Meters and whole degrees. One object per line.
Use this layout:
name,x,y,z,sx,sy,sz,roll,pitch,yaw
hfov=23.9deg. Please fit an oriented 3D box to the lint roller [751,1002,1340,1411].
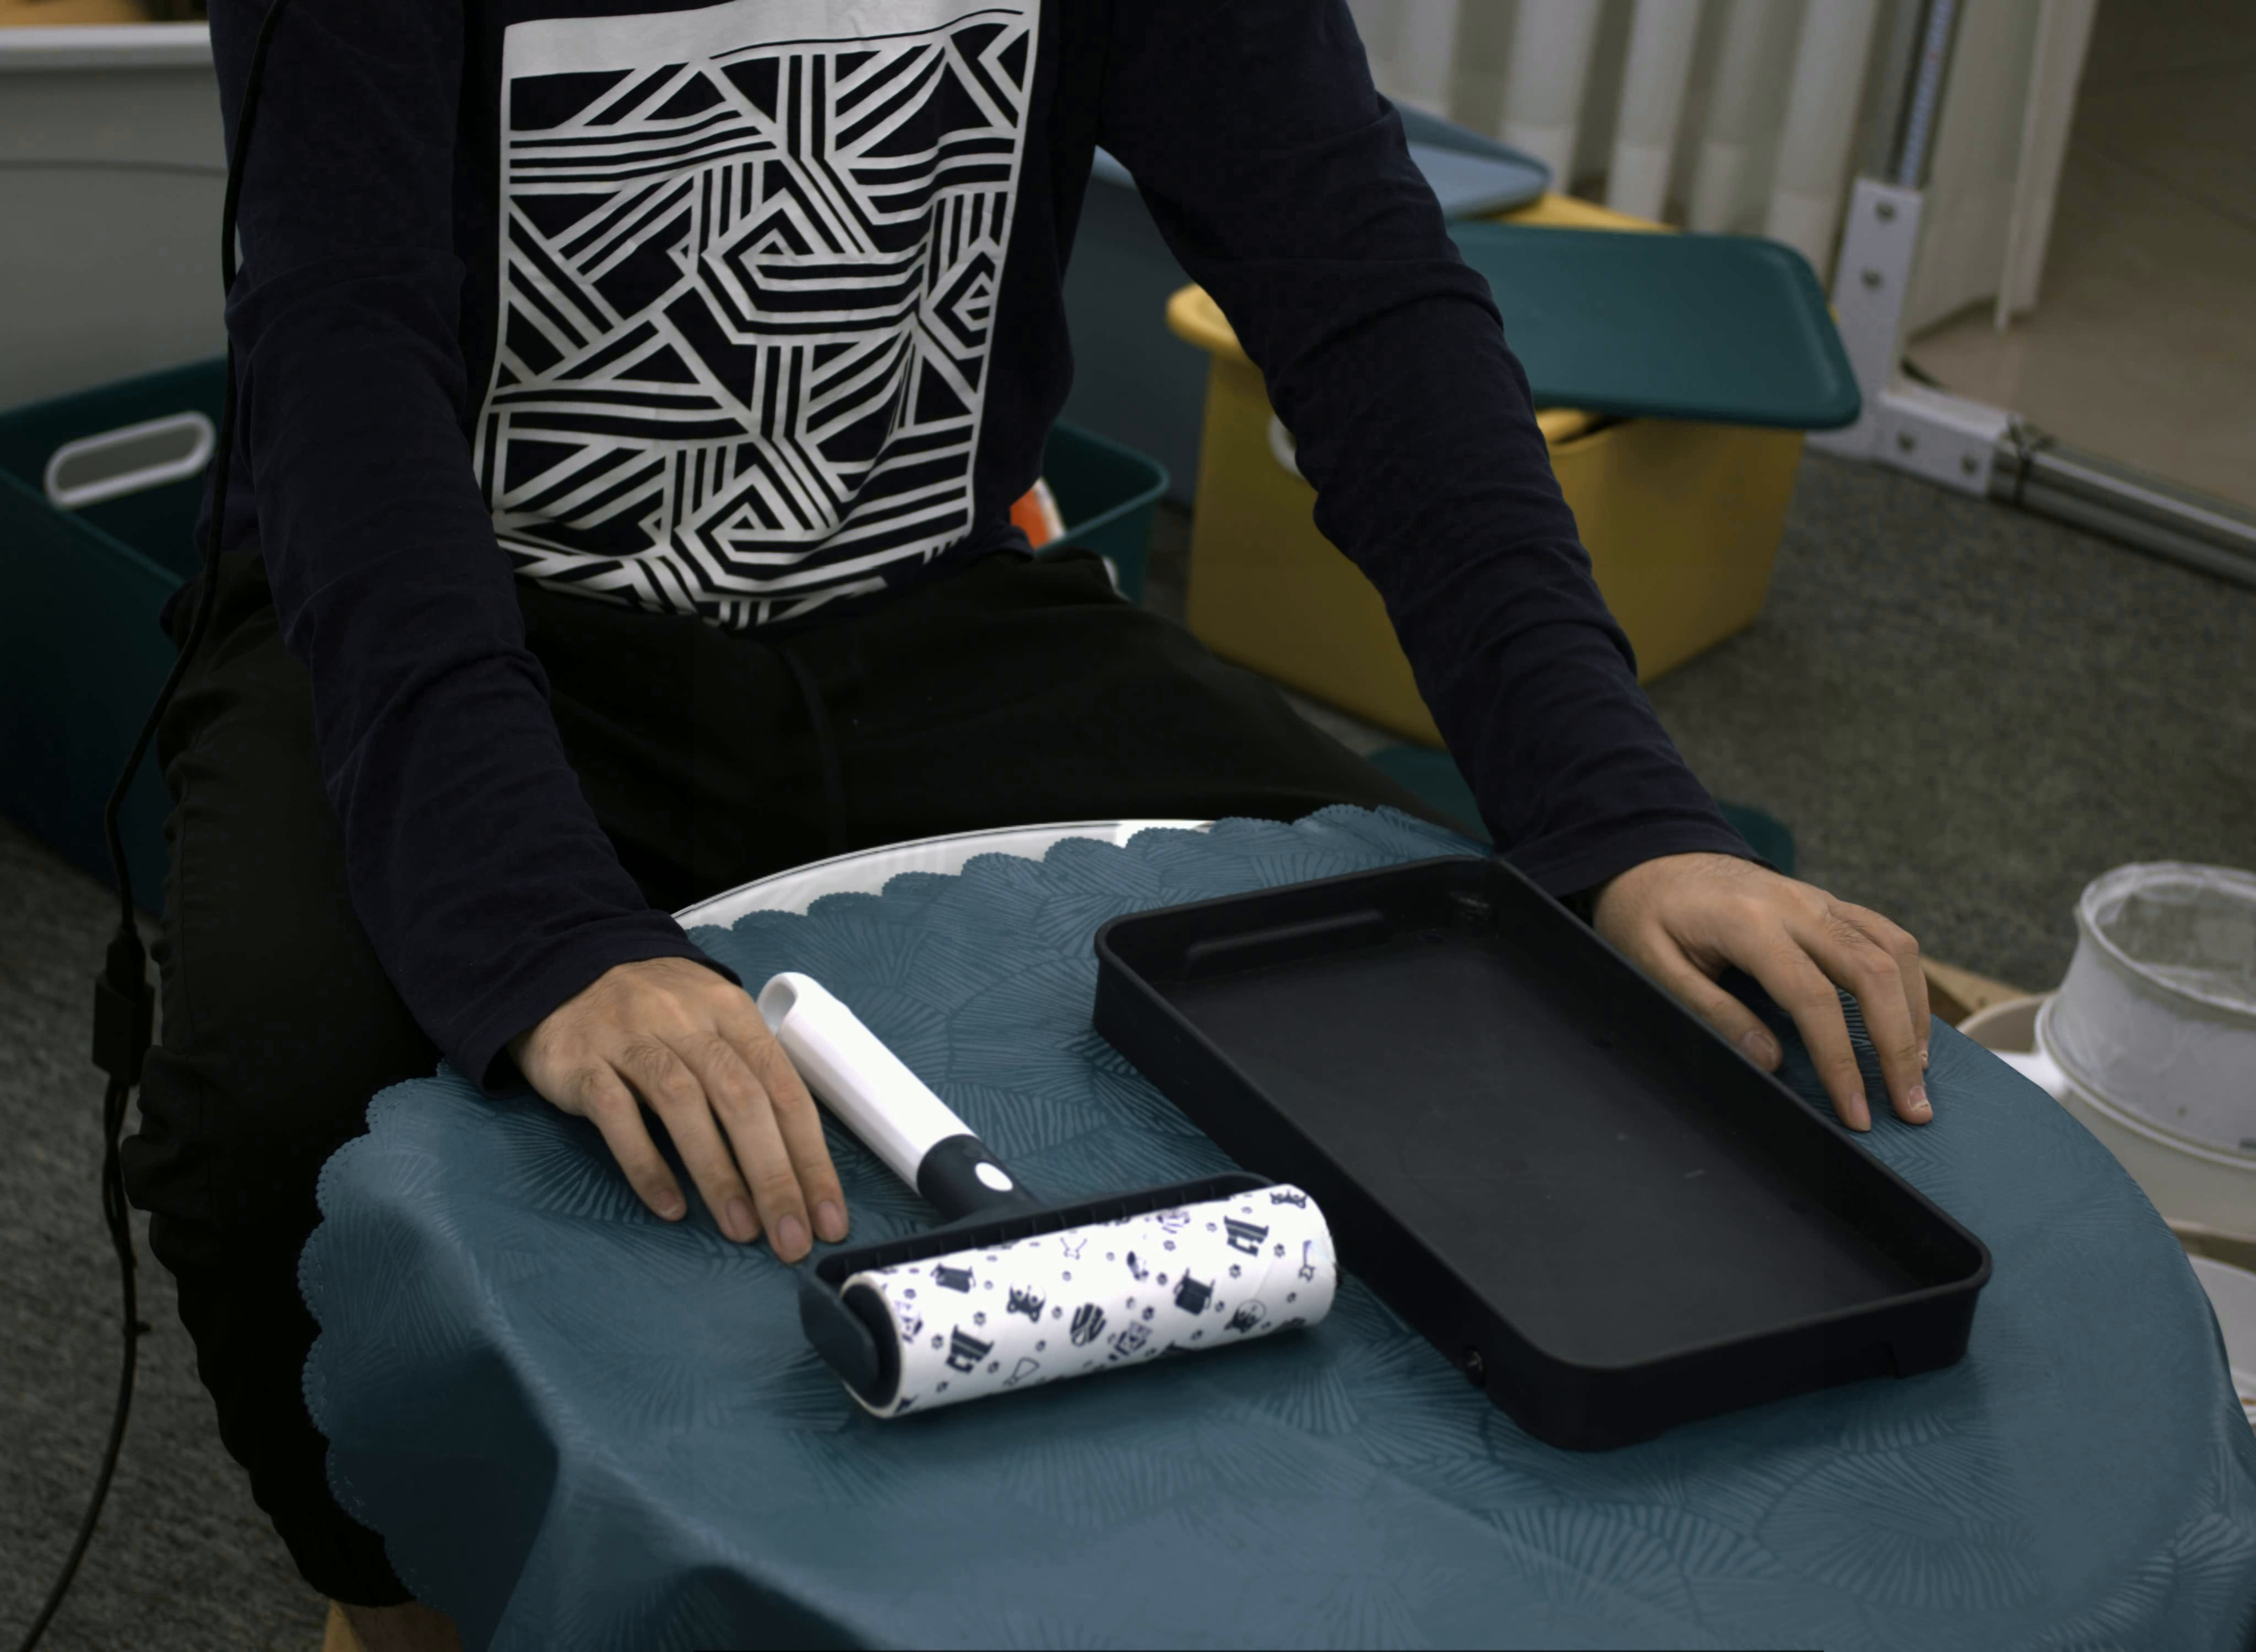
lint roller,-0.065,0.110,1.775,0.175,0.050,0.249,-11,28,-29

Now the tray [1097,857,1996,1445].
tray,0.136,0.105,1.834,0.183,0.037,0.321,-9,30,-29
